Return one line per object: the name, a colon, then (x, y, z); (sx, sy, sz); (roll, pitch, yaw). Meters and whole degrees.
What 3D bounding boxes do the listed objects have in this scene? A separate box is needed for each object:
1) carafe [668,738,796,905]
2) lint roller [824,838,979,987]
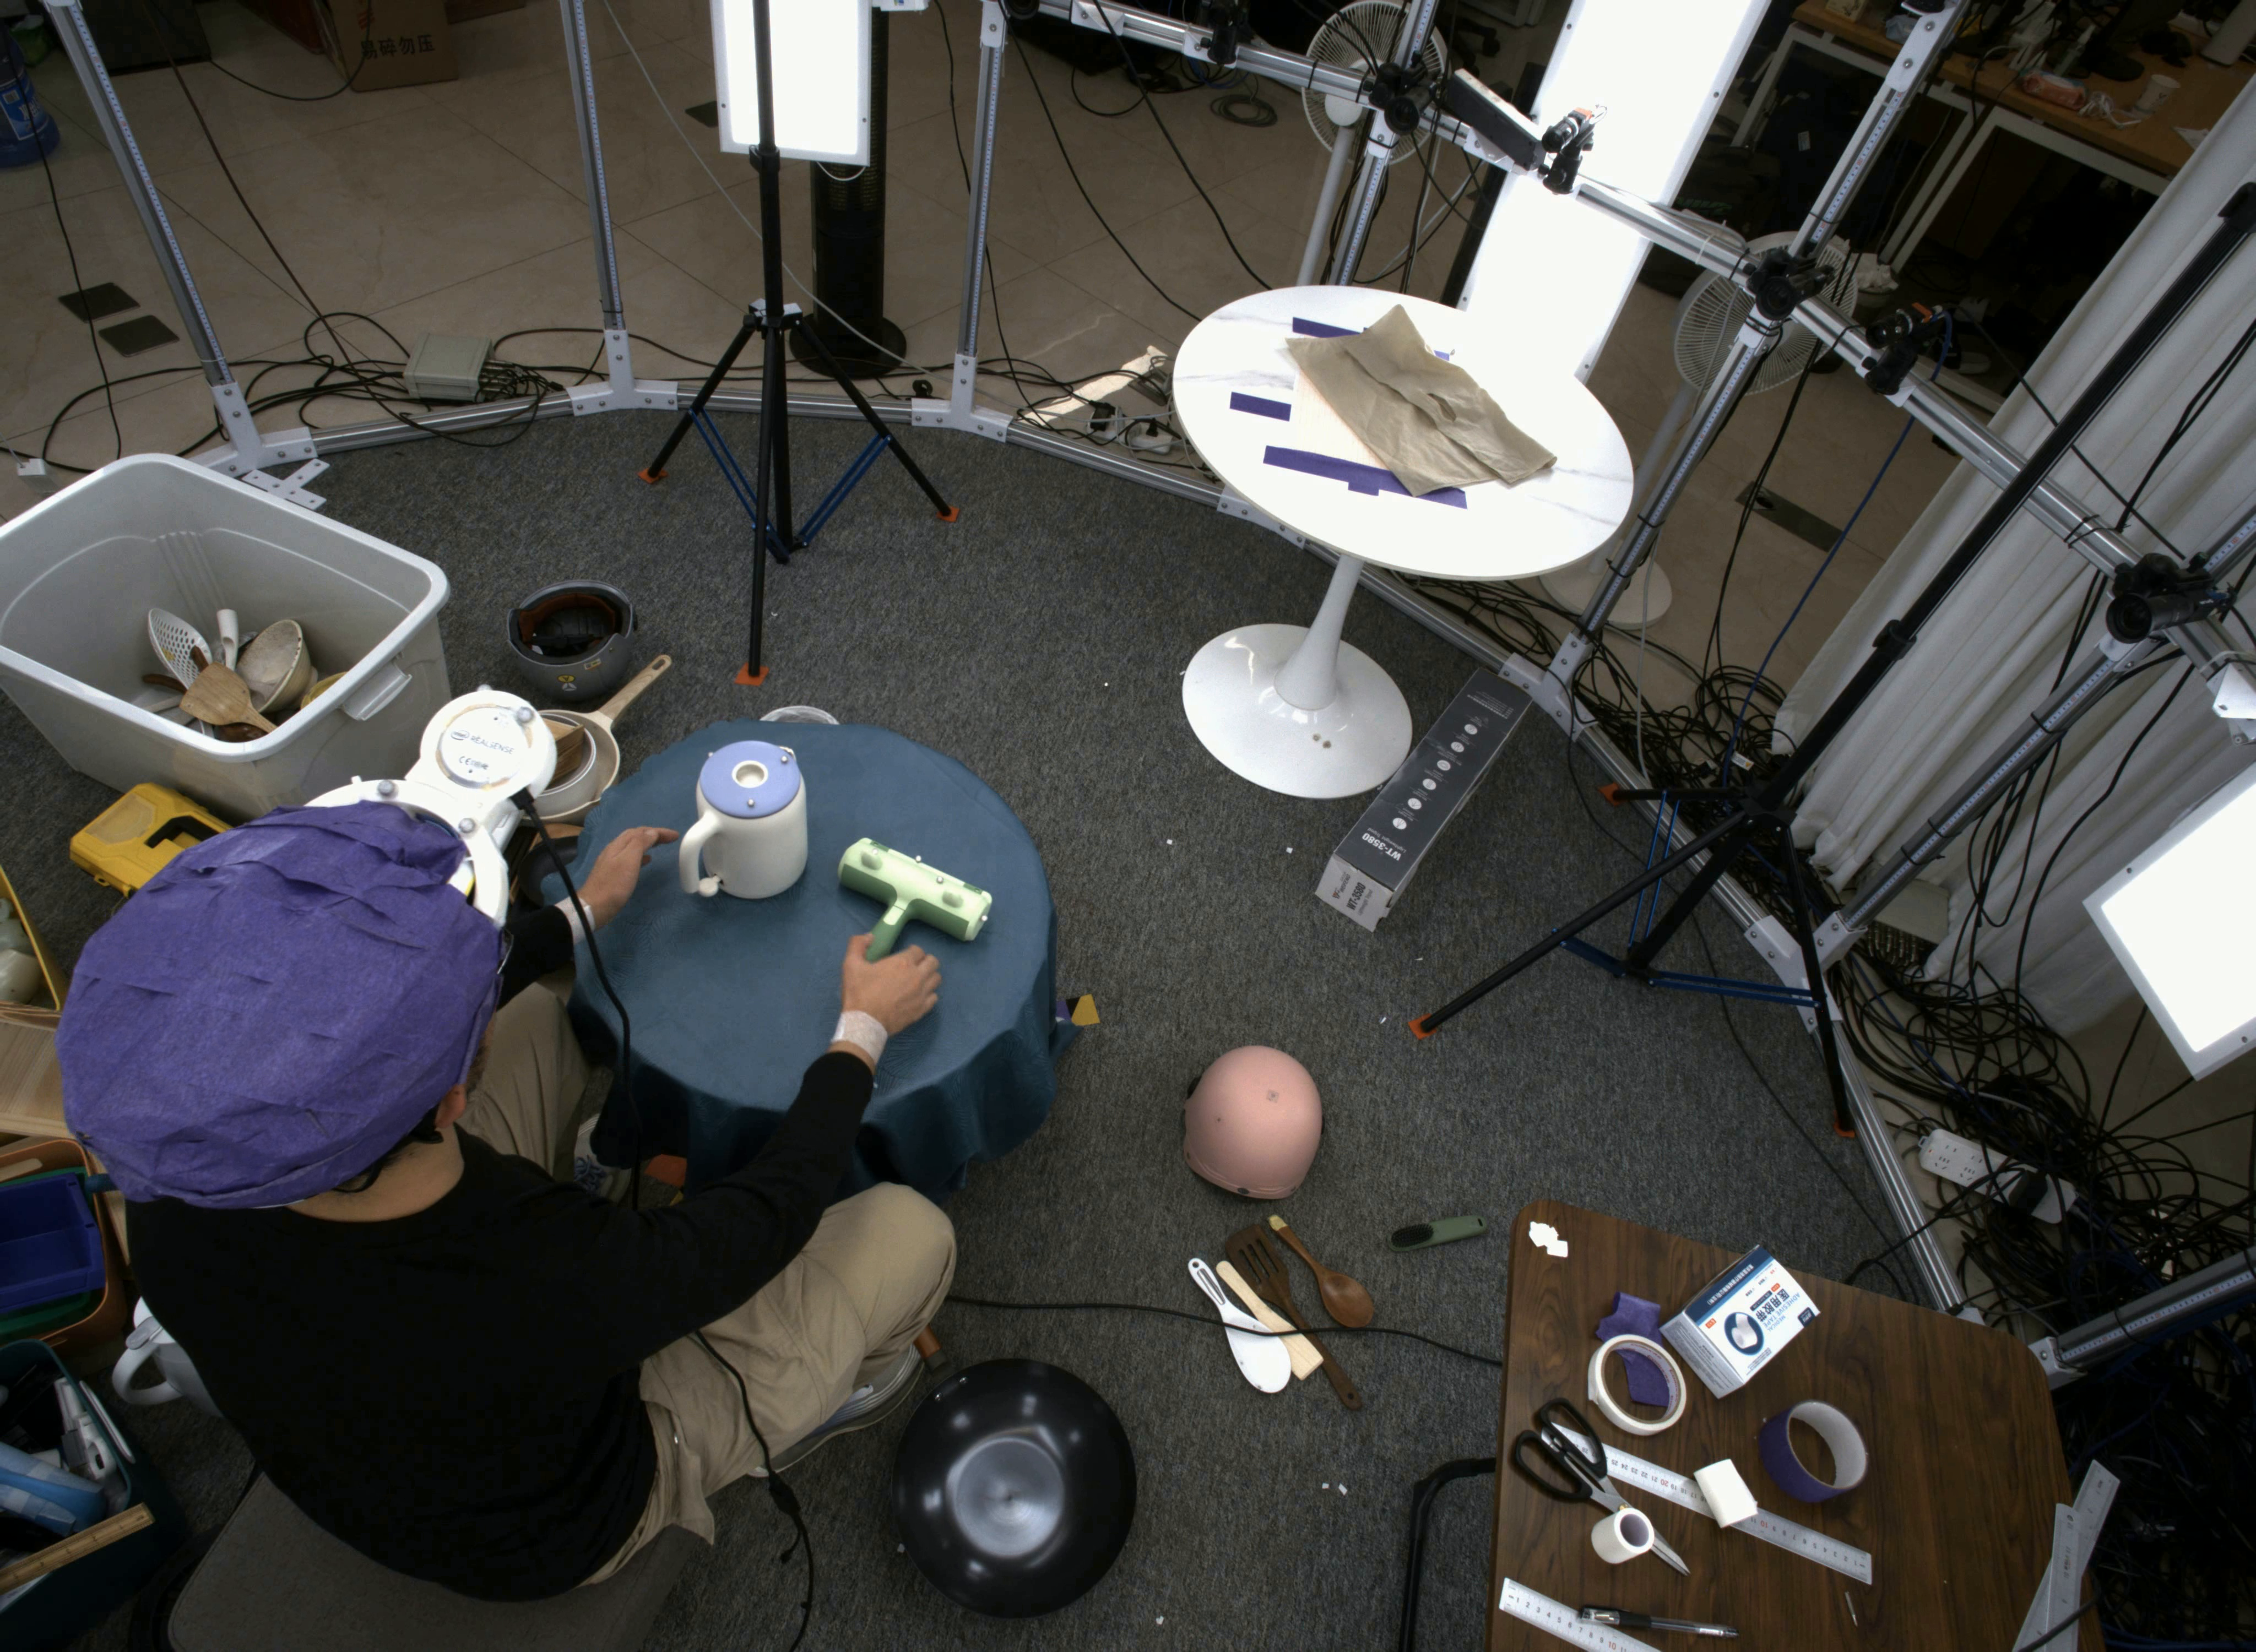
carafe: (-0.494, 0.008, 1.583); (0.130, 0.186, 0.190); (30, 54, 12)
lint roller: (-0.309, 0.110, 1.617); (0.196, 0.084, 0.182); (23, 49, 5)
